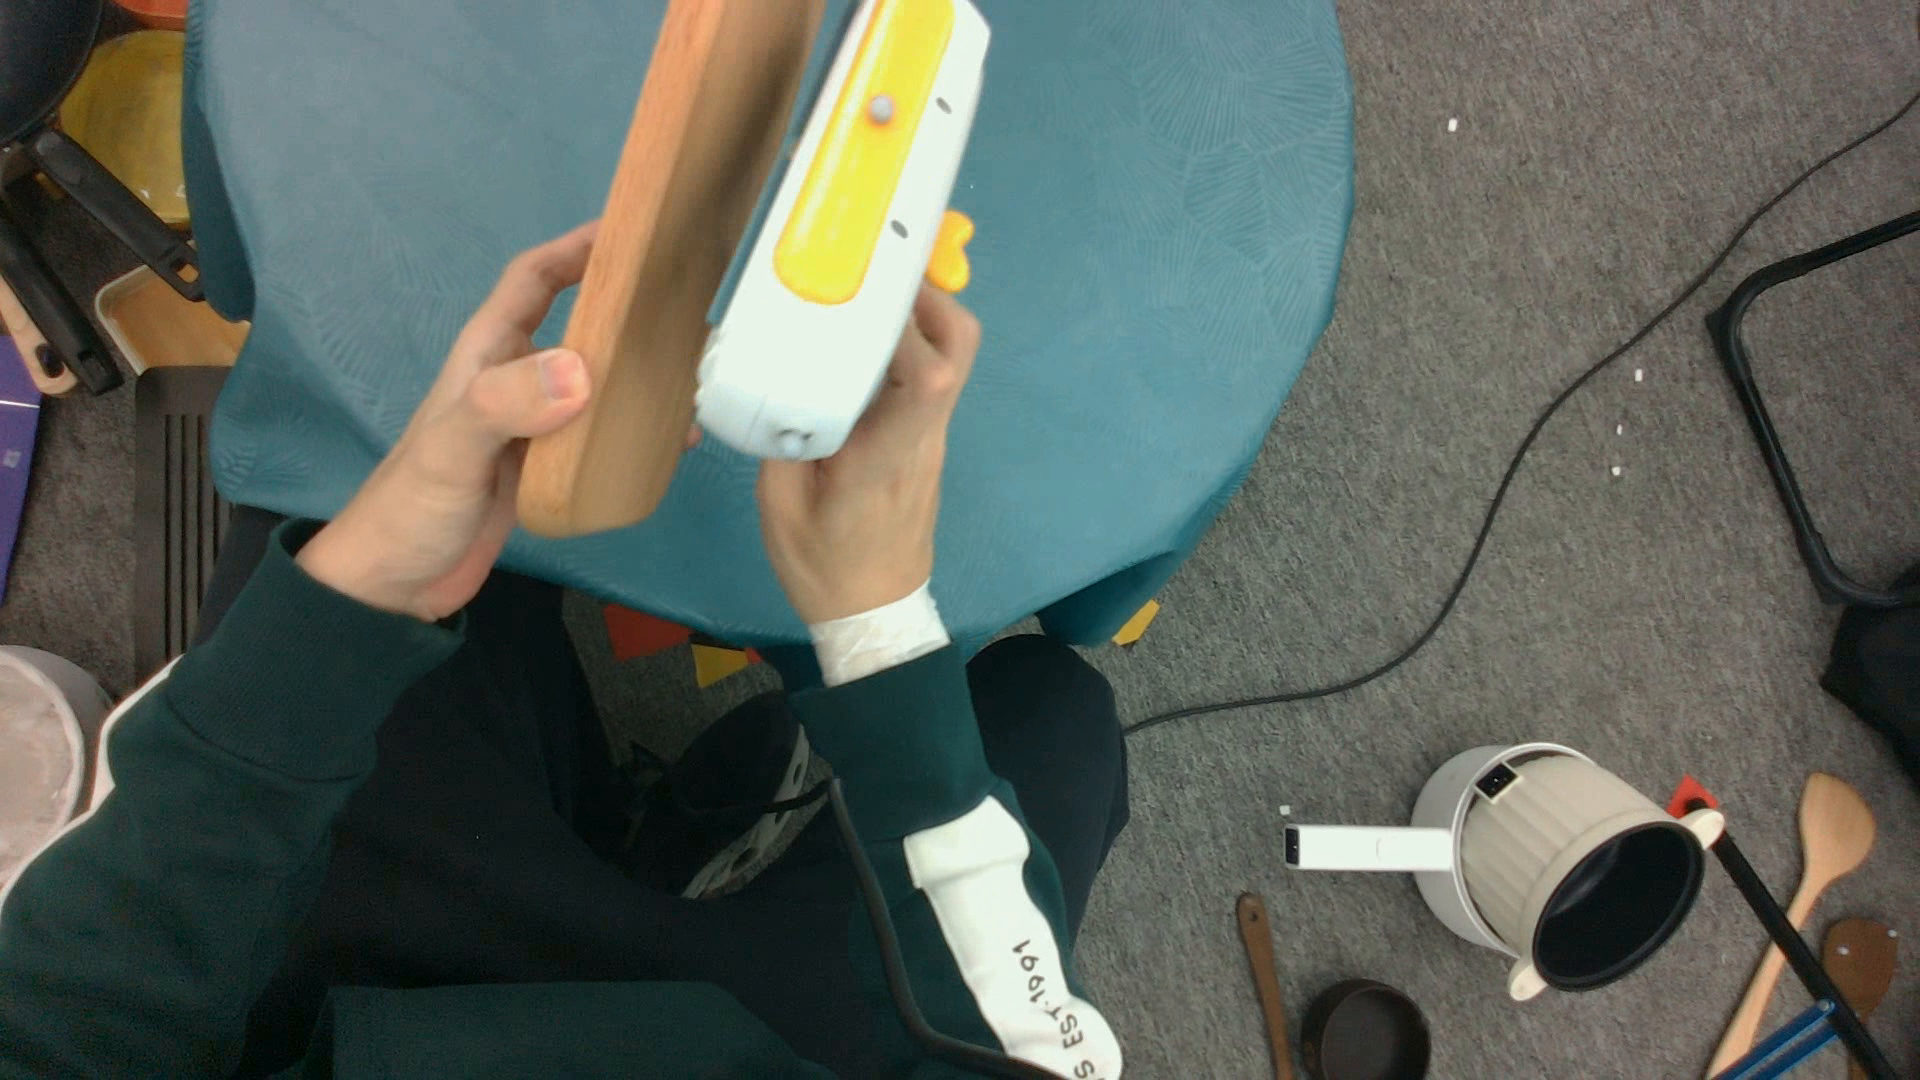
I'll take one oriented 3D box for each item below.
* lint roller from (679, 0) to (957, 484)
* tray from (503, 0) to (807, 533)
[{"bbox_3d":[-0.051,-0.082,0.507,0.074,0.191,0.193,12,62,-8],"label":"lint roller"},{"bbox_3d":[-0.098,-0.122,0.483,0.023,0.130,0.250,19,95,4],"label":"tray"}]
